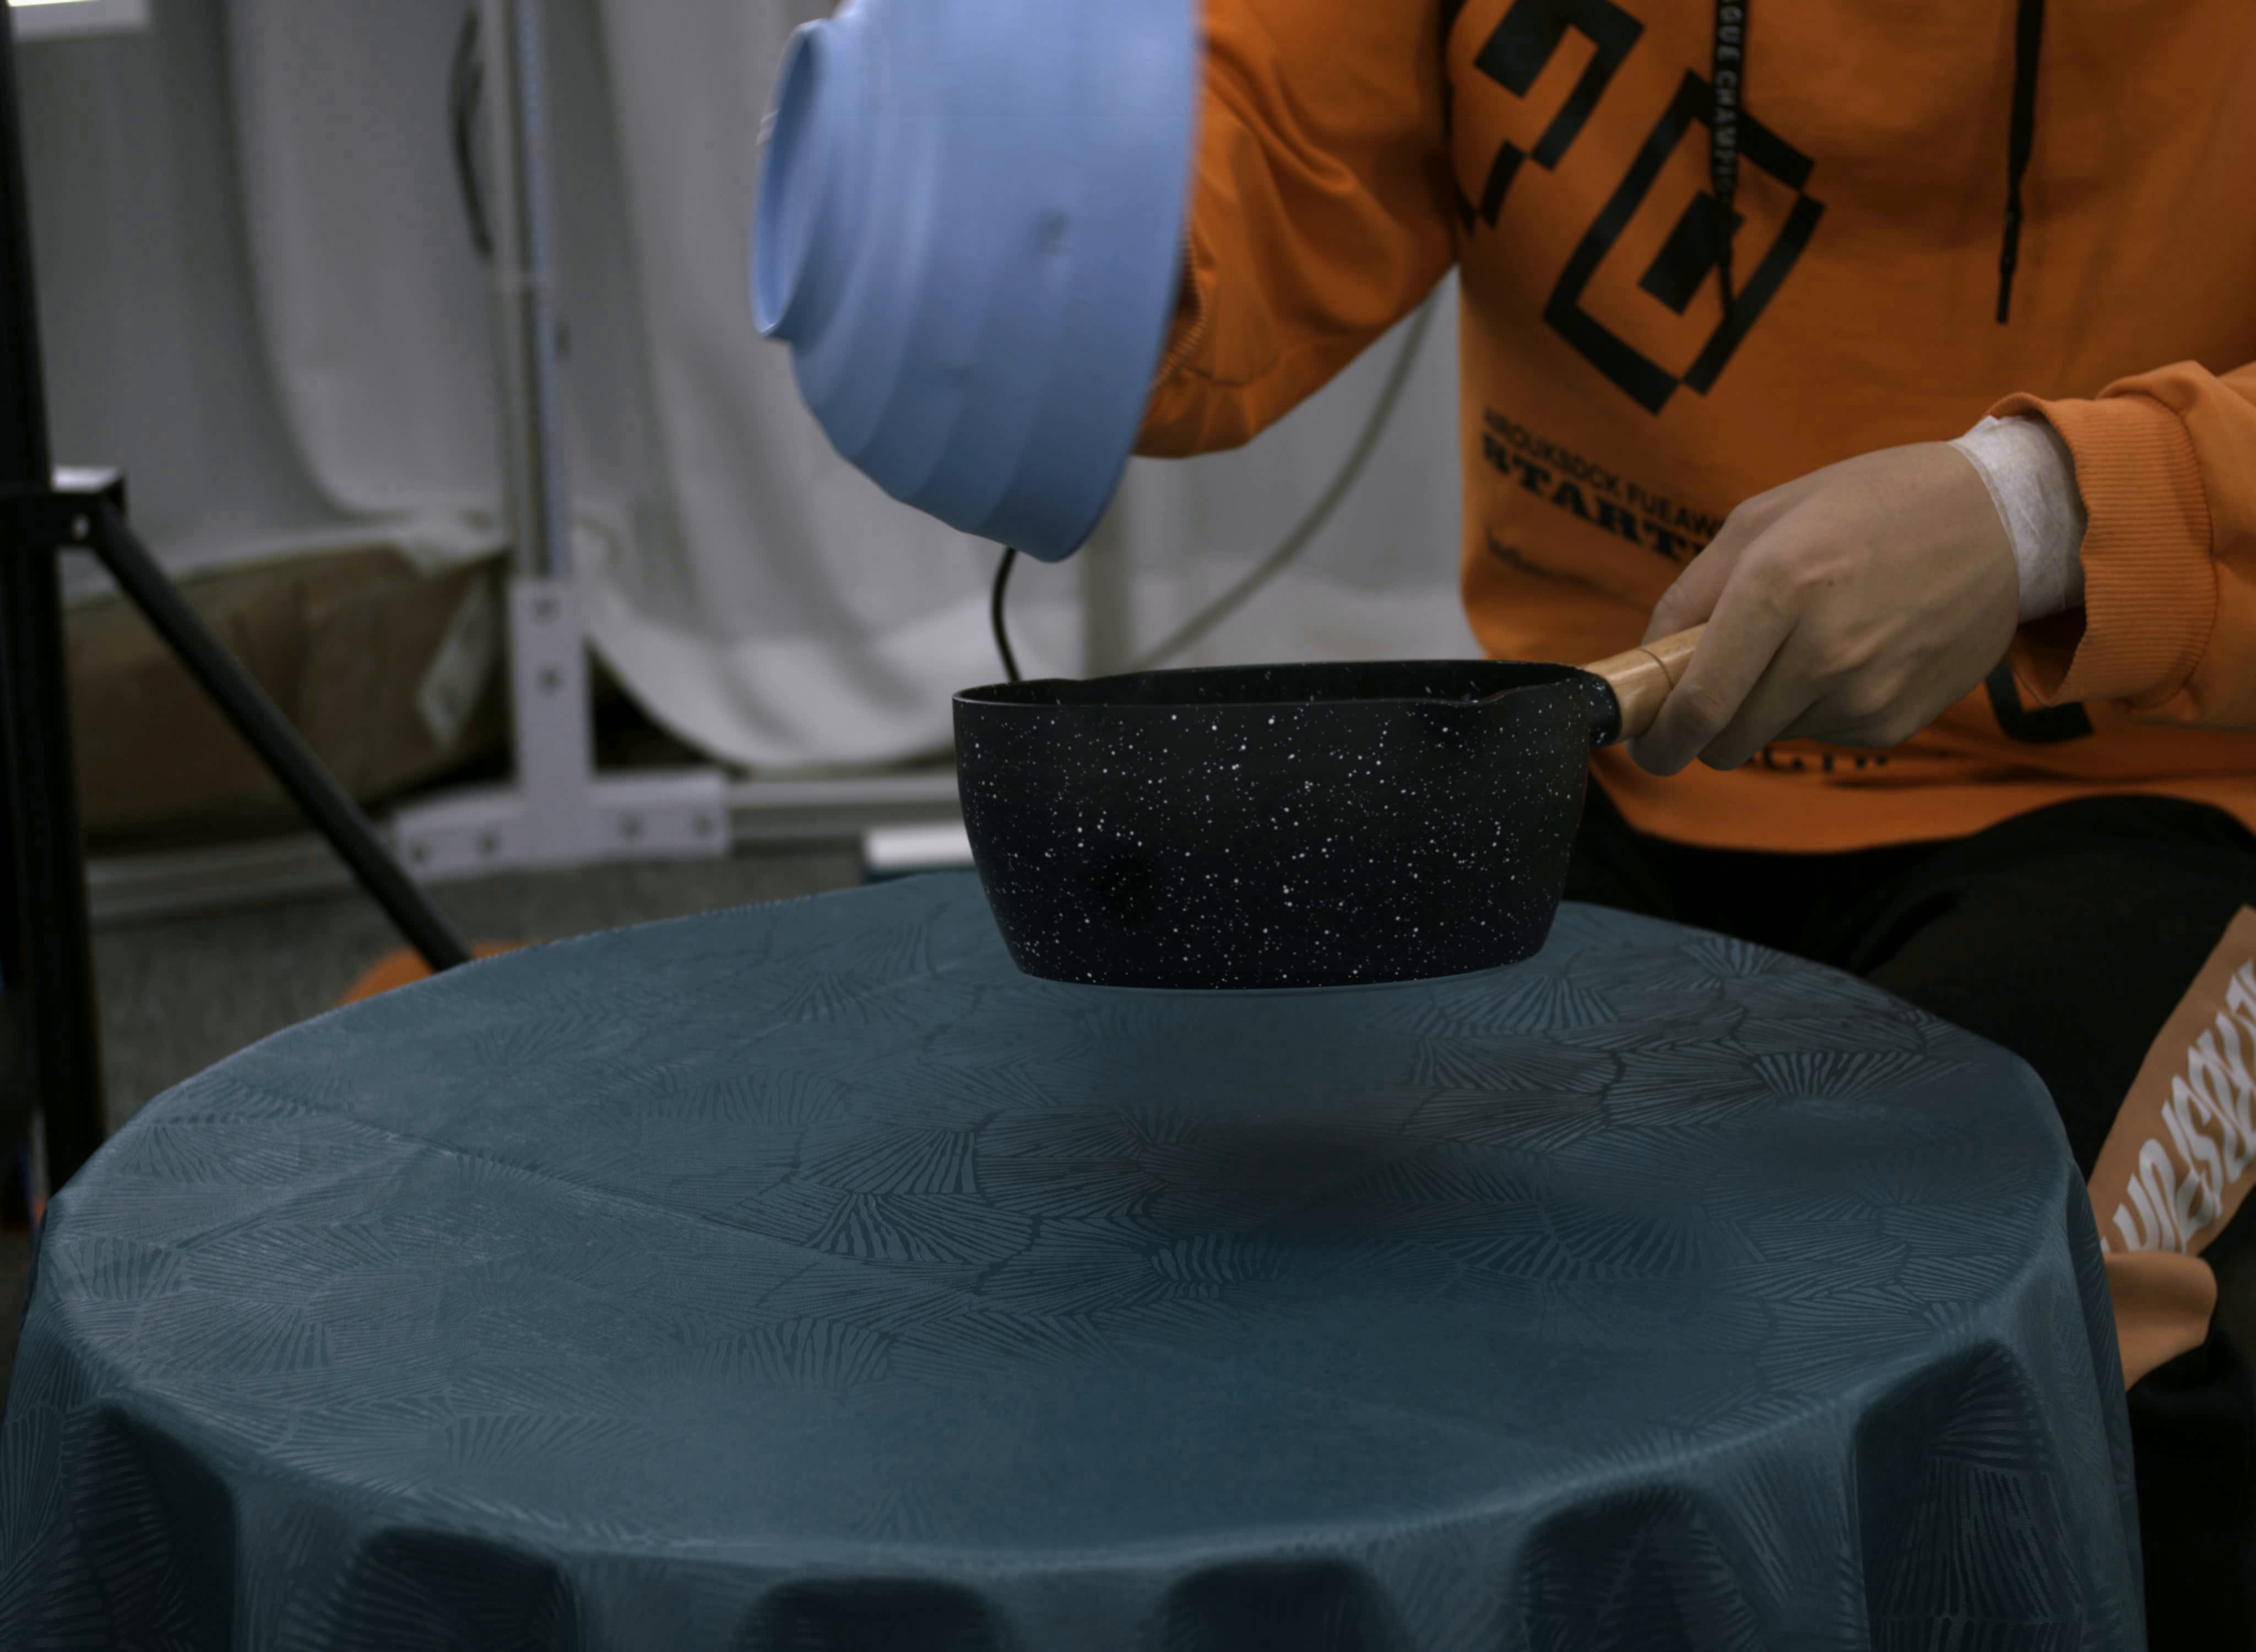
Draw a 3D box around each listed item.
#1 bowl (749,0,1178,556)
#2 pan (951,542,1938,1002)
[{"bbox_3d":[-0.055,-0.180,1.536,0.094,0.197,0.199,5,14,-12],"label":"bowl"},{"bbox_3d":[0.107,-0.018,1.576,0.334,0.108,0.212,-7,5,-33],"label":"pan"}]
